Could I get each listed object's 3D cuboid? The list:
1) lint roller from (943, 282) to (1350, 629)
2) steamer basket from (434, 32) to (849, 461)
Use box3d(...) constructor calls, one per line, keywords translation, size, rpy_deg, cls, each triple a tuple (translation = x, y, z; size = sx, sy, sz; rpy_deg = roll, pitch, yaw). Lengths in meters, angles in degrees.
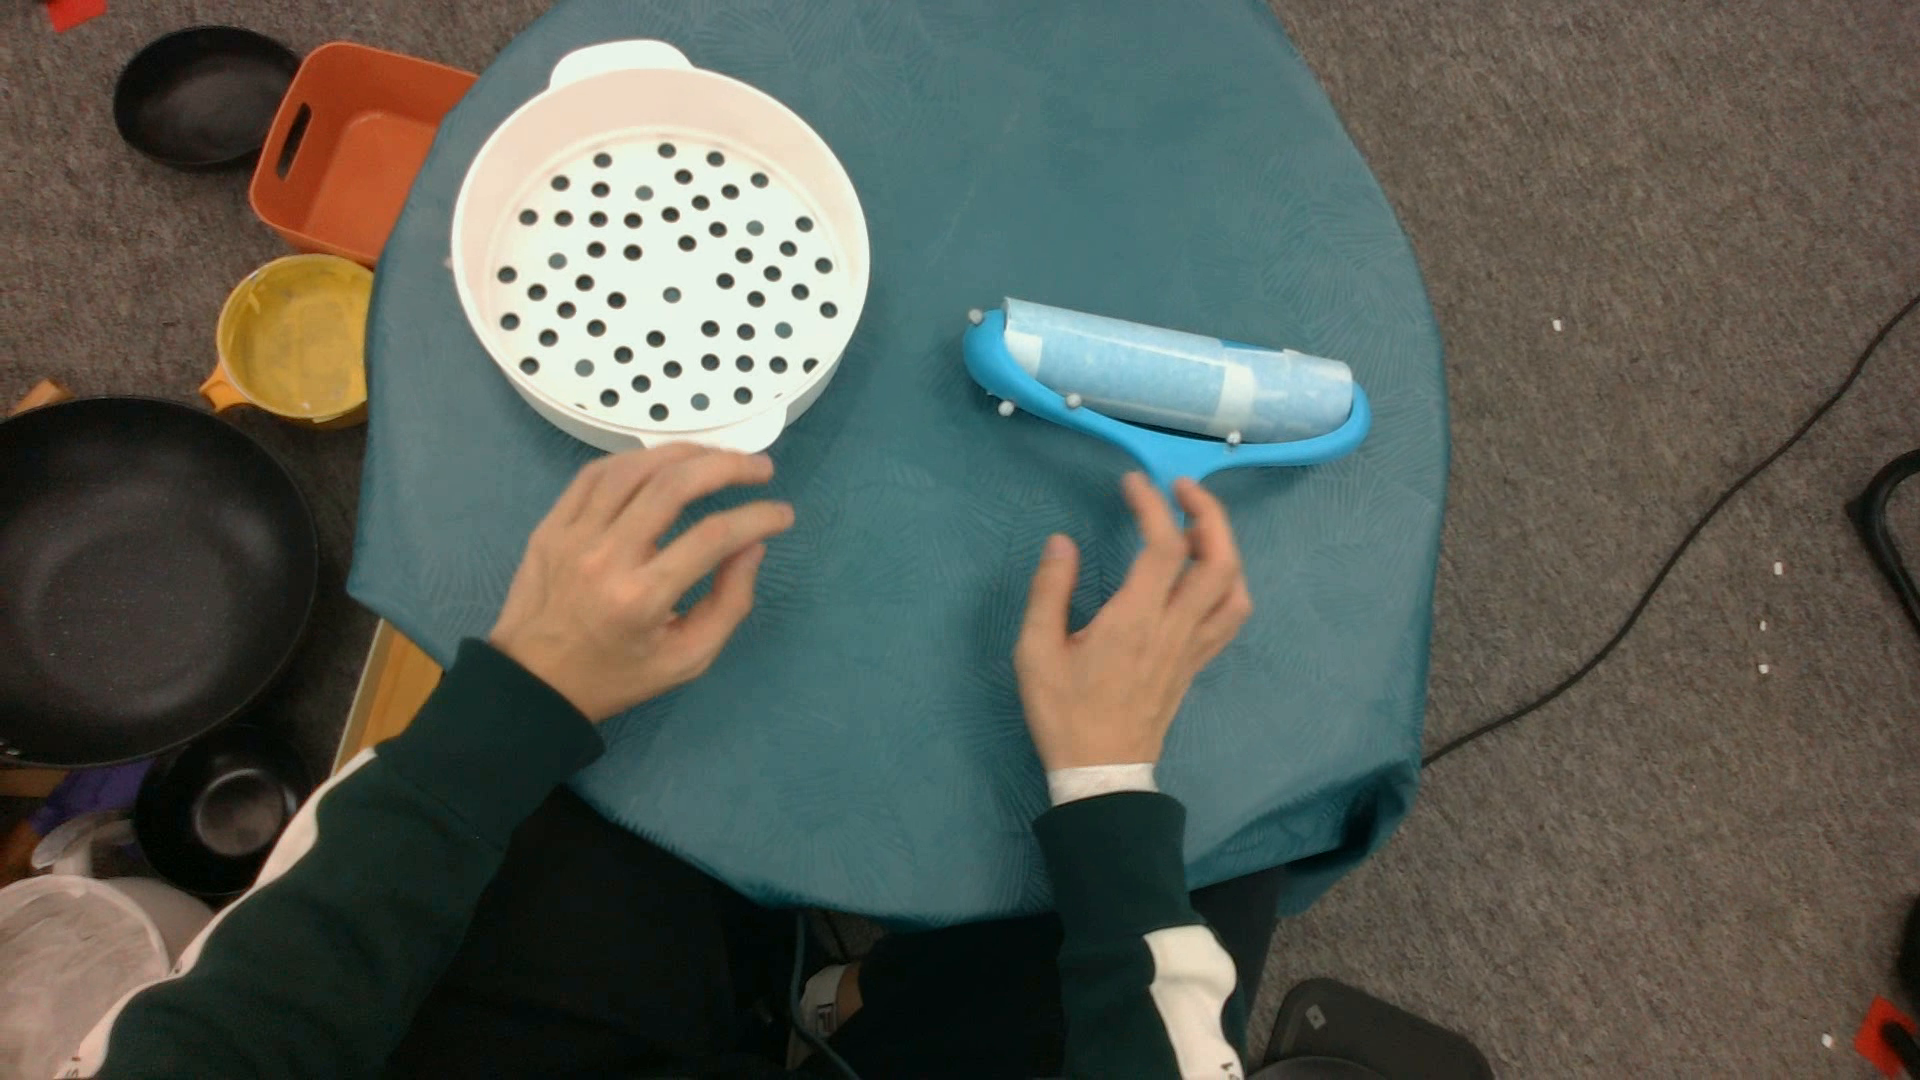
box3d(translation=(0.103, -0.046, 0.740), size=(0.229, 0.067, 0.180), rpy_deg=(4, 74, -11), cls="lint roller")
box3d(translation=(-0.161, -0.144, 0.712), size=(0.202, 0.069, 0.231), rpy_deg=(-15, 80, -13), cls="steamer basket")
